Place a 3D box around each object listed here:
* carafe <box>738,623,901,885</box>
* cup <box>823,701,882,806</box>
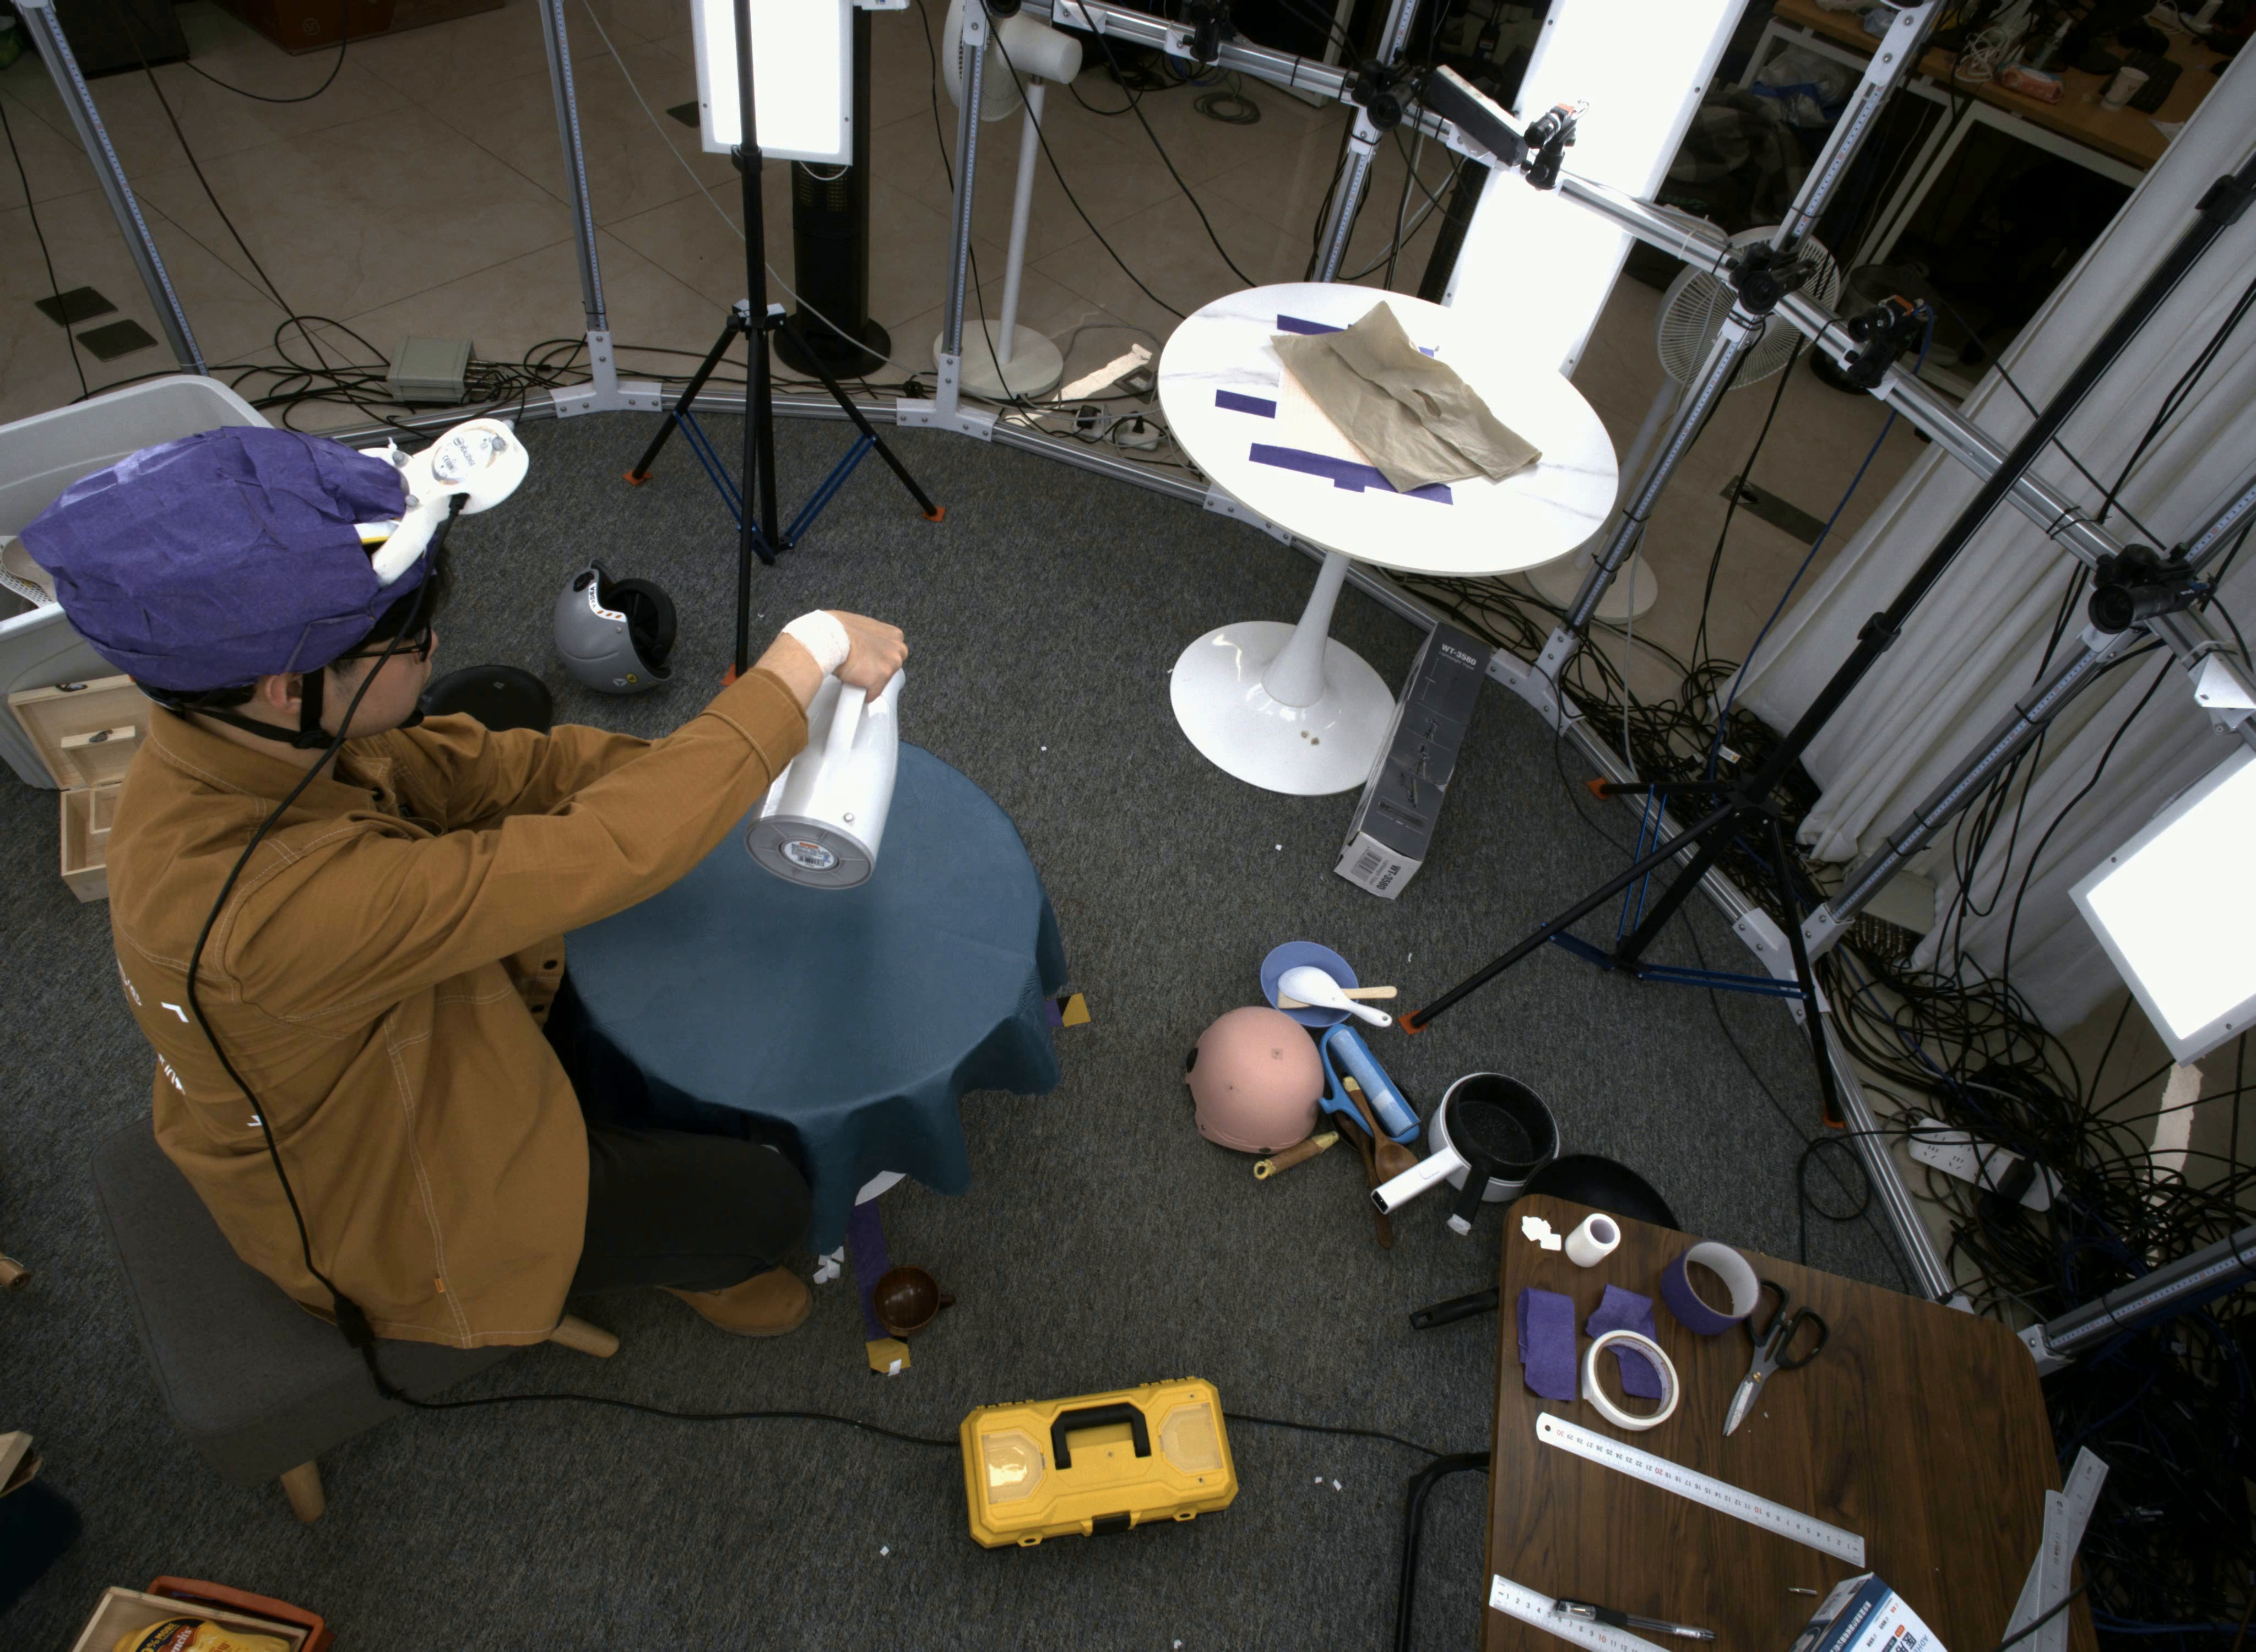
[{"bbox_3d":[-0.299,-0.089,1.332,0.133,0.169,0.245,17,58,-12],"label":"carafe"},{"bbox_3d":[-0.331,-0.085,1.542,0.067,0.134,0.066,7,59,-12],"label":"cup"}]
